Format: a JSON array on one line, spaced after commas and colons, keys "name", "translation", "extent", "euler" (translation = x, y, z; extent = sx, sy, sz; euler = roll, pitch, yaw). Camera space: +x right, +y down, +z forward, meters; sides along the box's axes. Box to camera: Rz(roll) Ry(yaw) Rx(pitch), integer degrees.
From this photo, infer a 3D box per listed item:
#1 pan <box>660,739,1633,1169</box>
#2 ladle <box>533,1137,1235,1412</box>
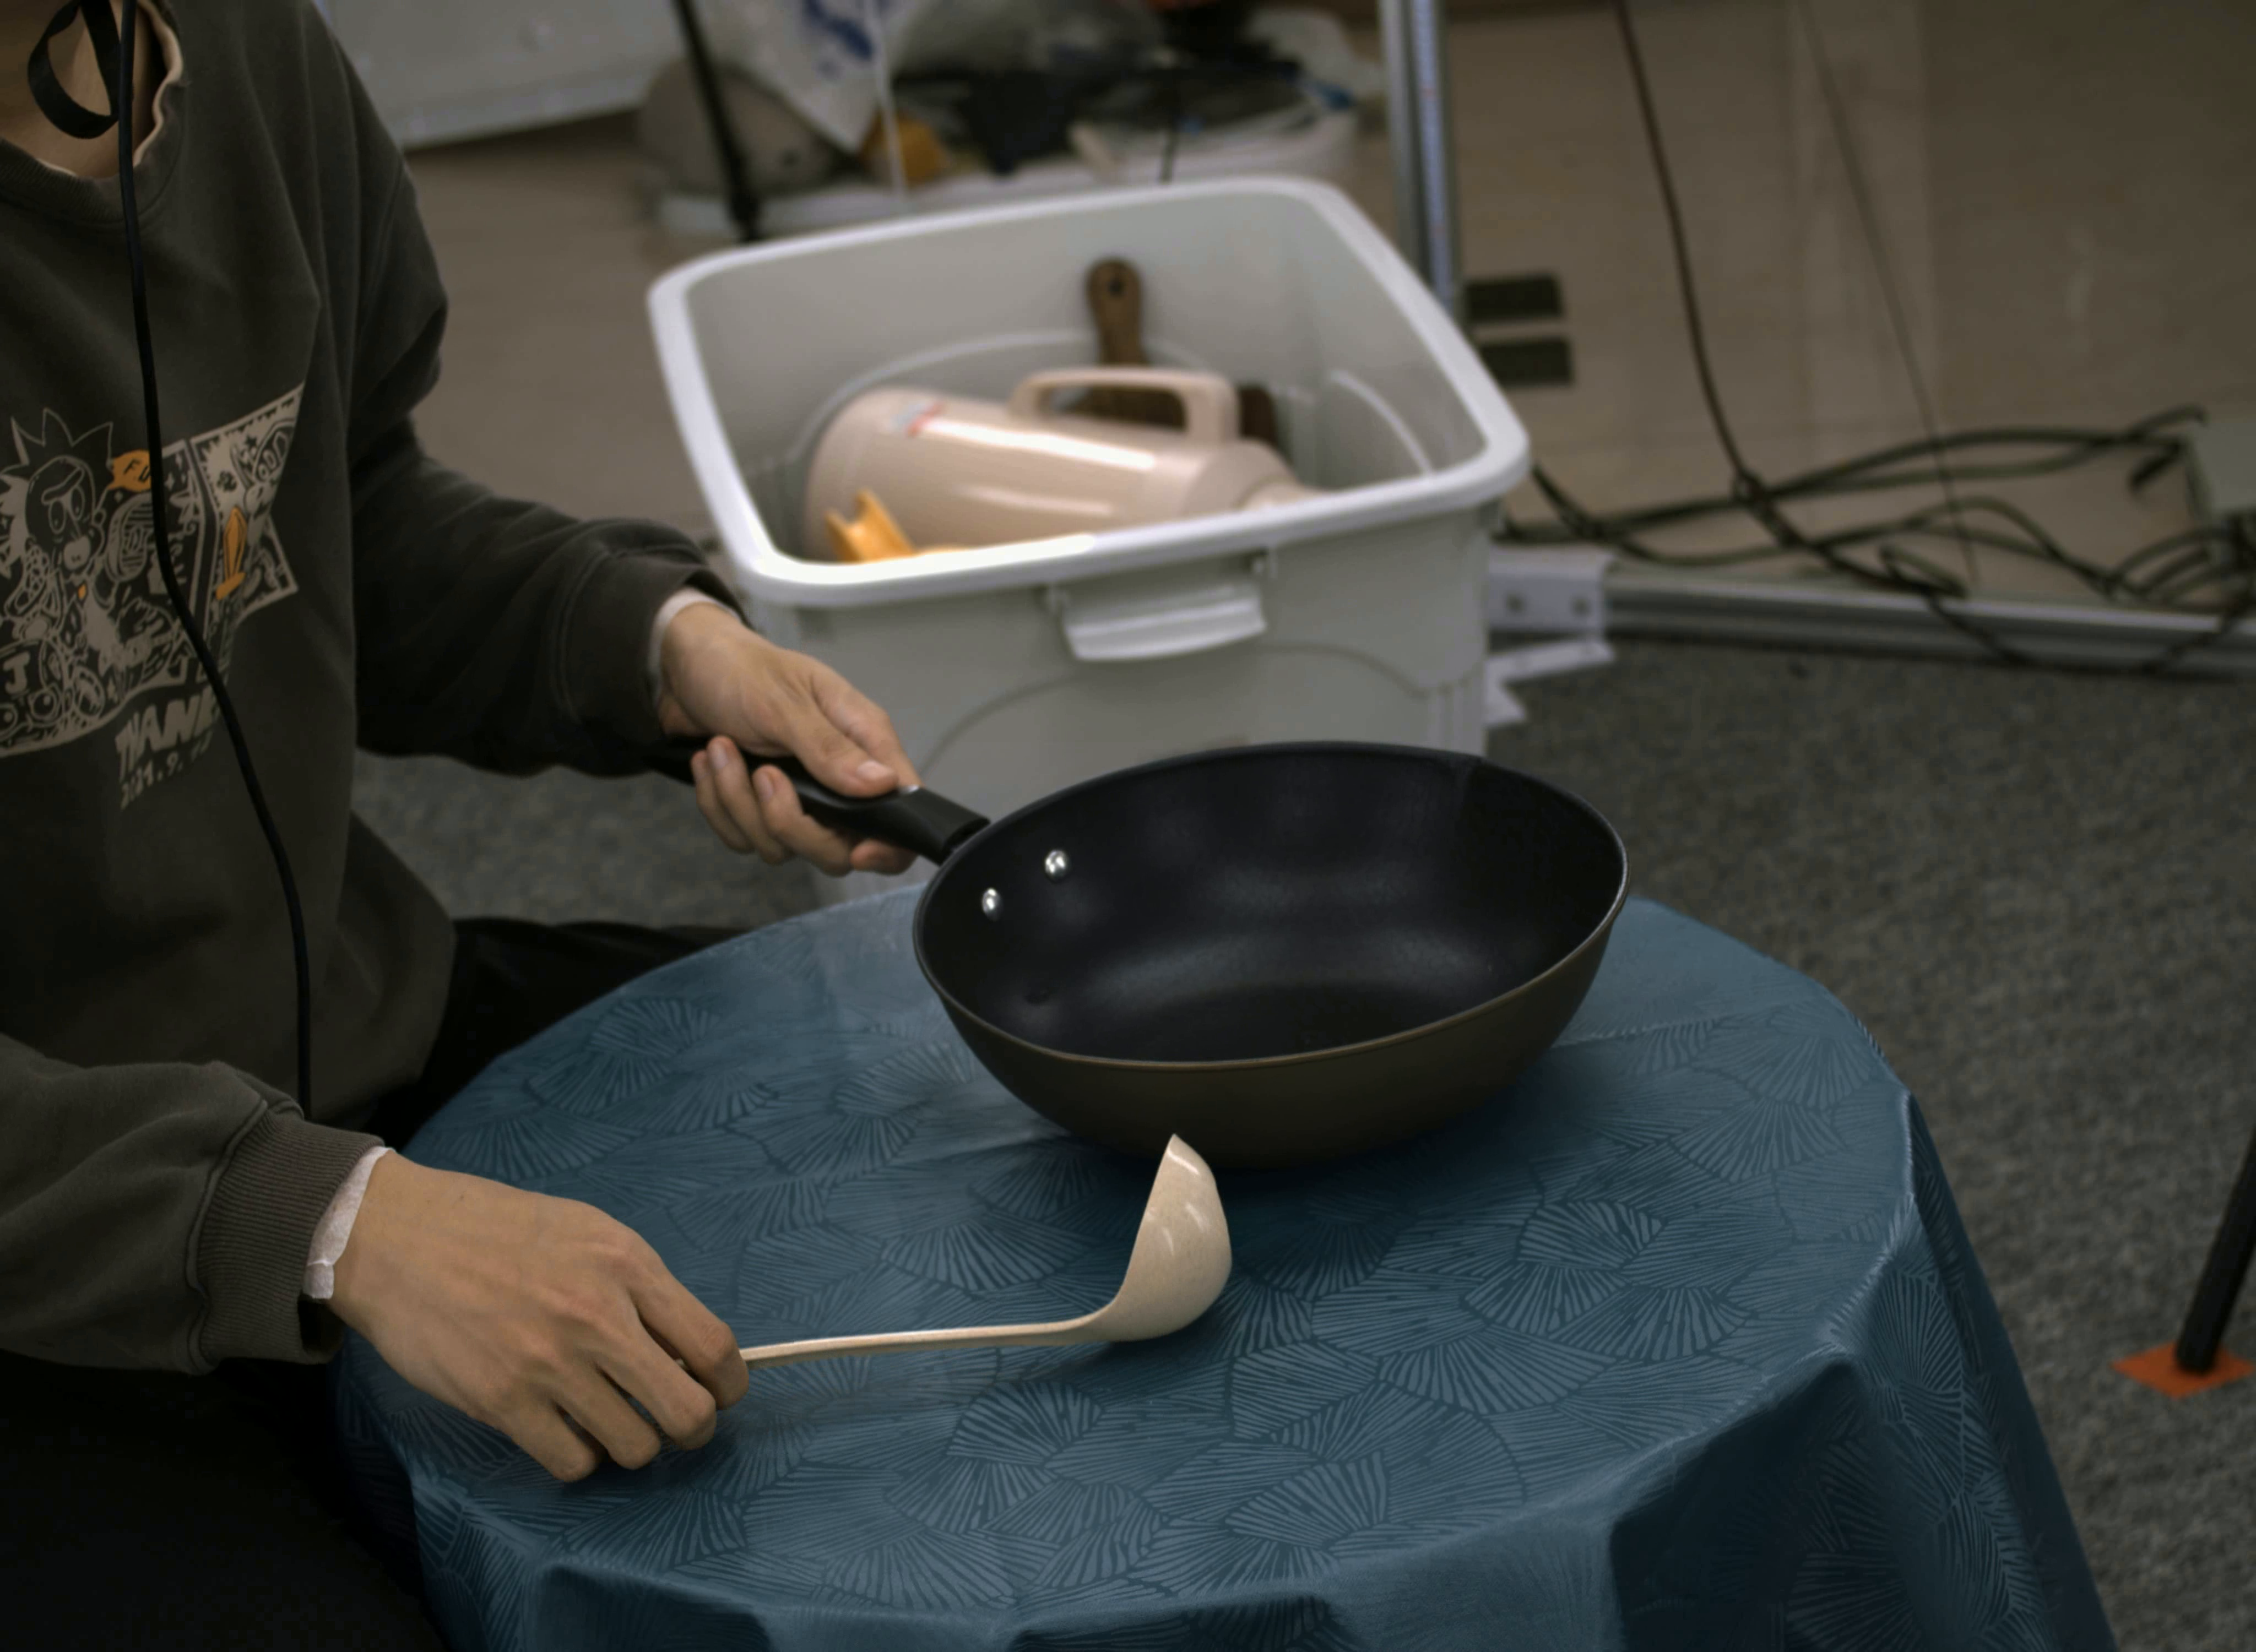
[{"name": "pan", "translation": [-0.013, 0.043, 2.253], "extent": [0.460, 0.088, 0.285], "euler": [13, 32, 37]}, {"name": "ladle", "translation": [-0.089, 0.159, 2.022], "extent": [0.254, 0.072, 0.072], "euler": [-6, -10, -8]}]
